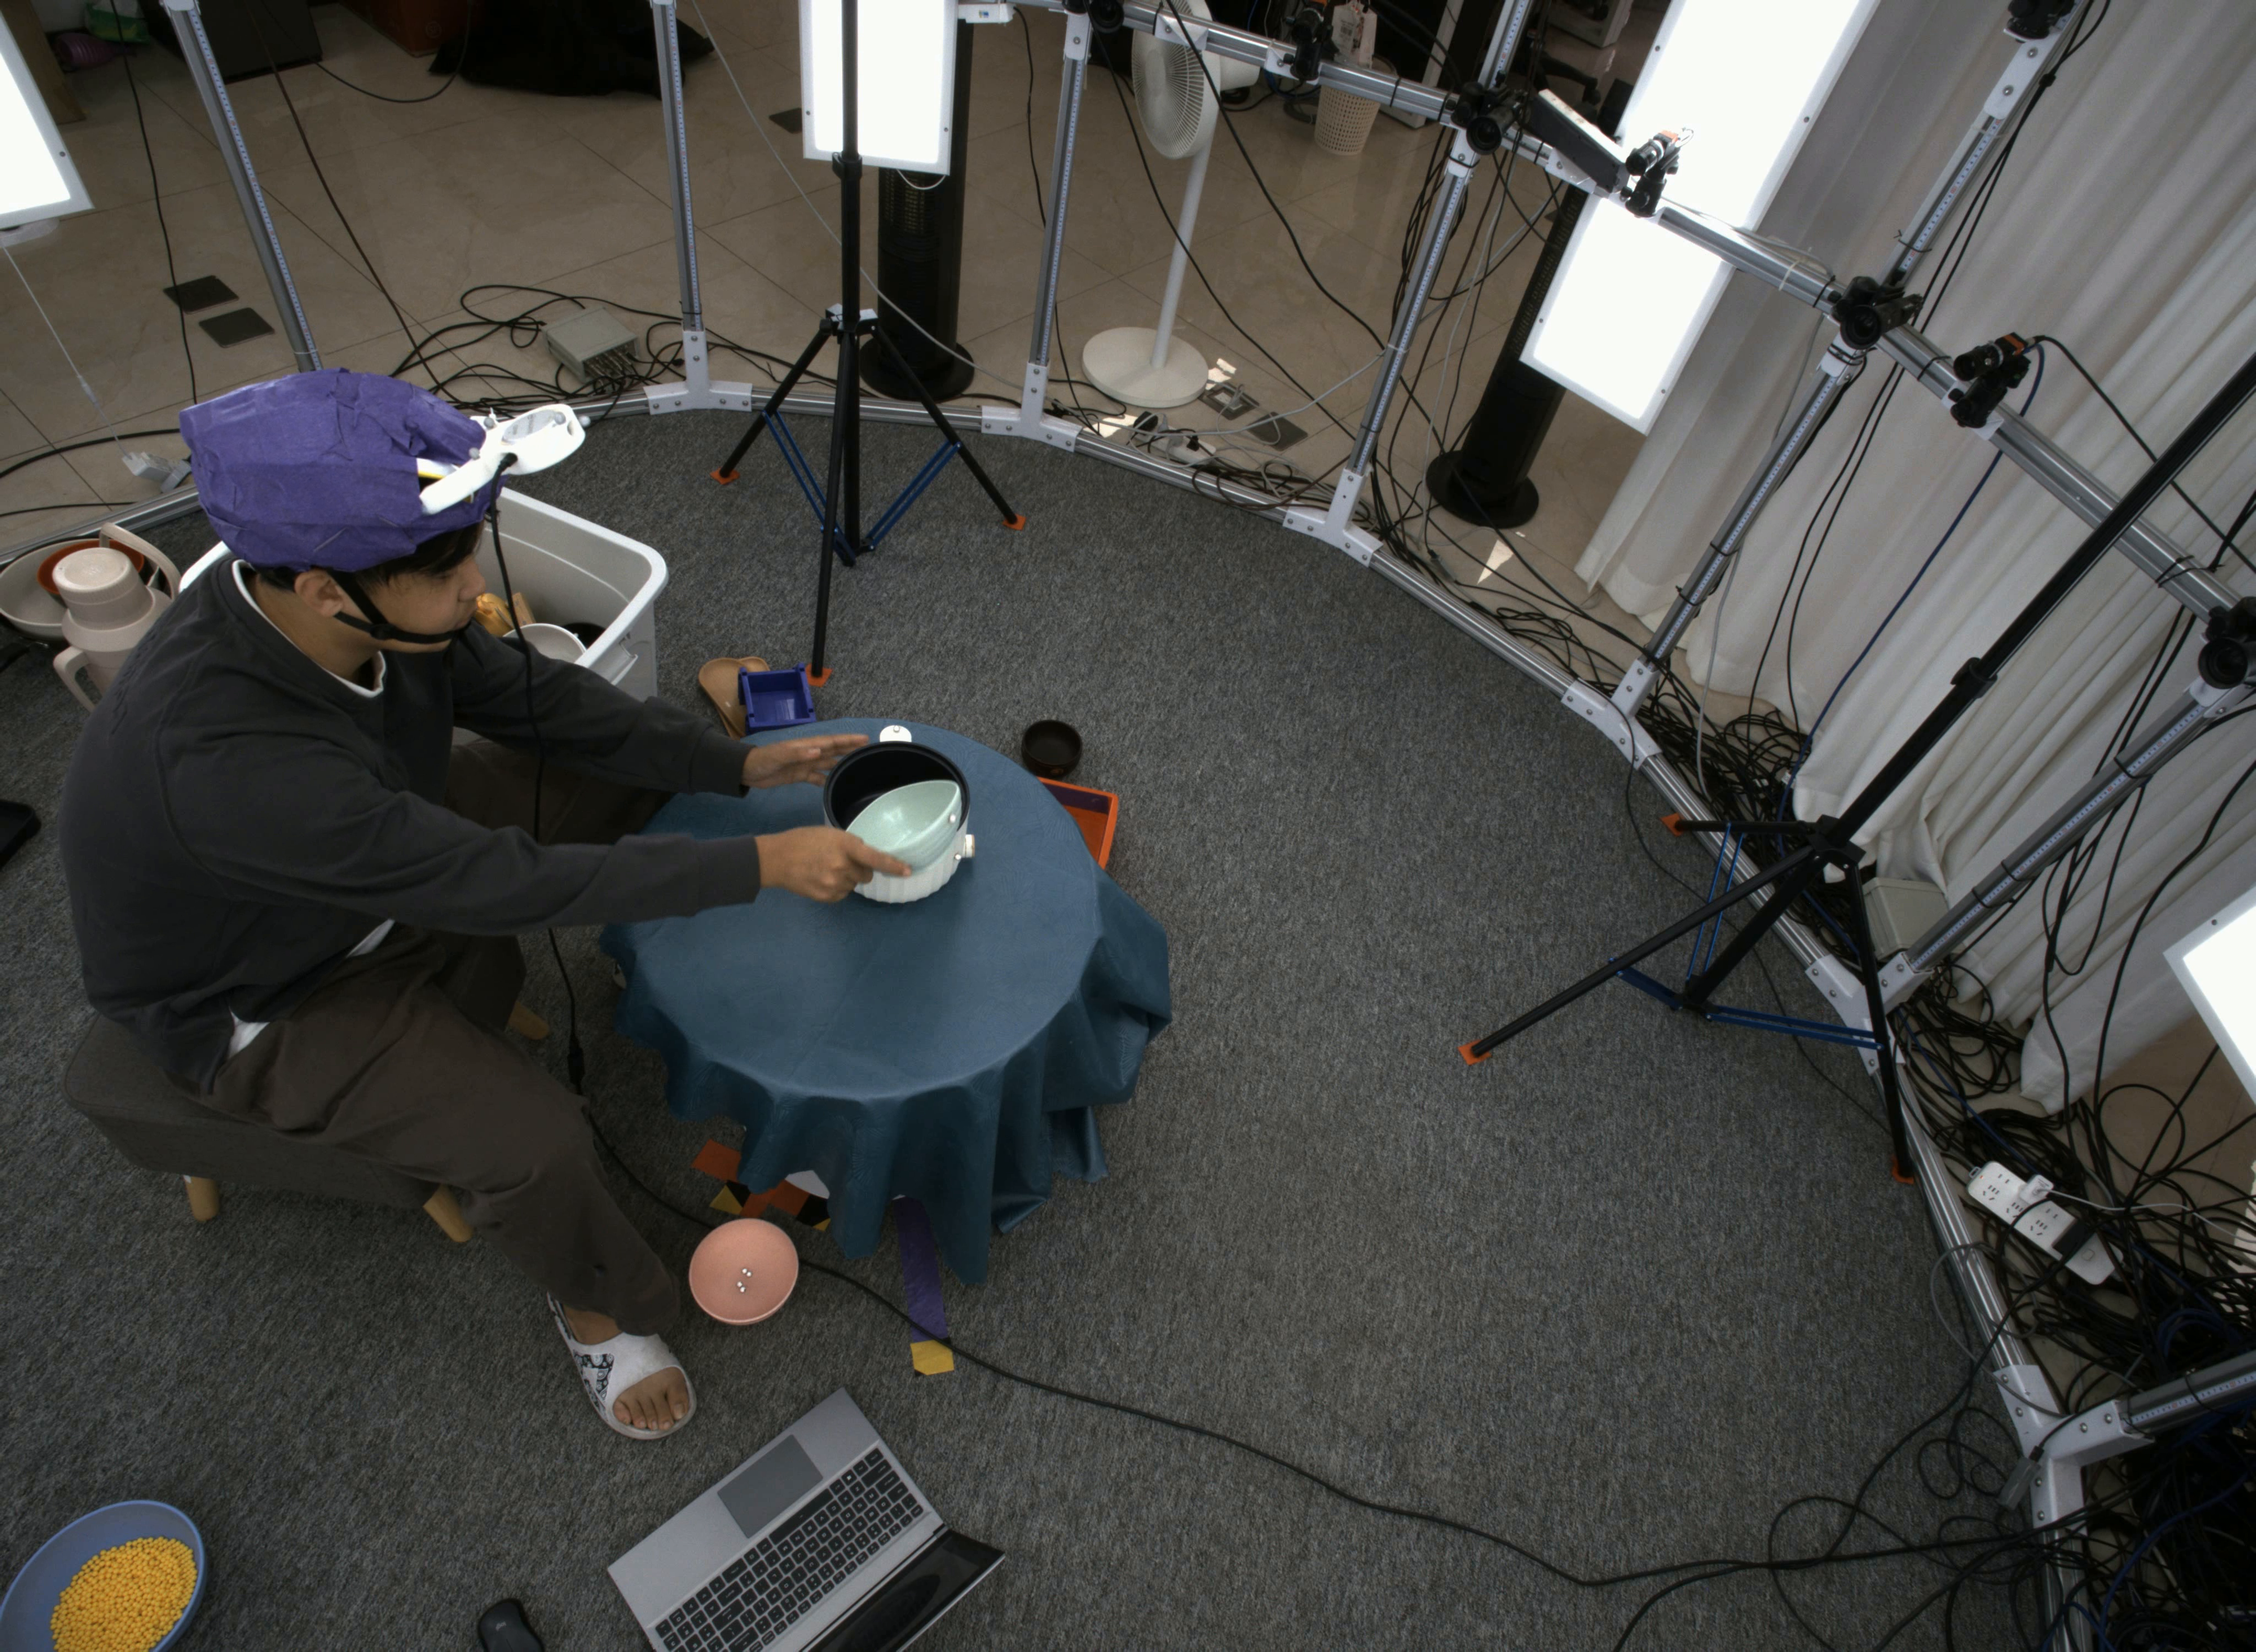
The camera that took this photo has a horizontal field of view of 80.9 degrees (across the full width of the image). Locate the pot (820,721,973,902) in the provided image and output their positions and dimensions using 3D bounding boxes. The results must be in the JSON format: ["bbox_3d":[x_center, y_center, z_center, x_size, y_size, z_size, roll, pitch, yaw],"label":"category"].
[{"bbox_3d":[-0.293,-0.003,1.664,0.190,0.146,0.235,-3,56,-12],"label":"pot"}]

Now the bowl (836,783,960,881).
[{"bbox_3d":[-0.251,0.013,1.481,0.149,0.061,0.148,-15,31,11],"label":"bowl"}]
